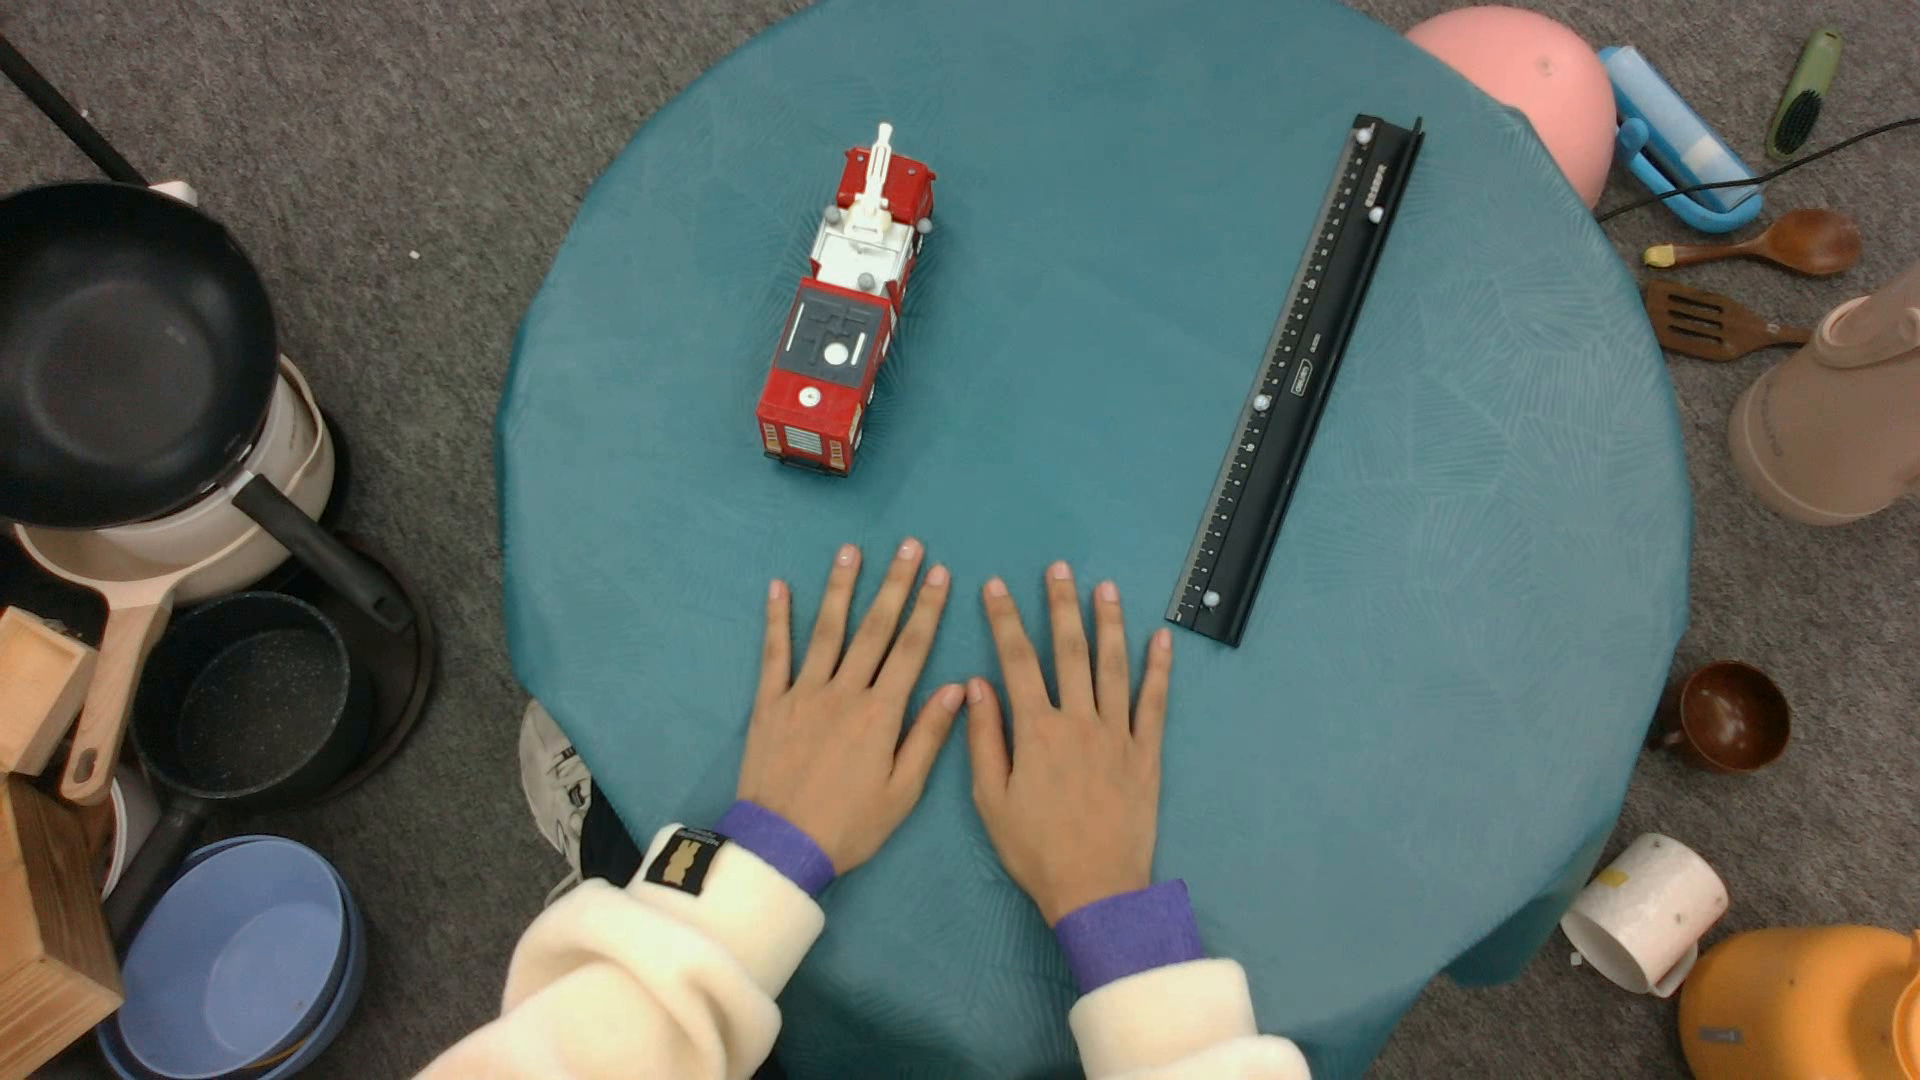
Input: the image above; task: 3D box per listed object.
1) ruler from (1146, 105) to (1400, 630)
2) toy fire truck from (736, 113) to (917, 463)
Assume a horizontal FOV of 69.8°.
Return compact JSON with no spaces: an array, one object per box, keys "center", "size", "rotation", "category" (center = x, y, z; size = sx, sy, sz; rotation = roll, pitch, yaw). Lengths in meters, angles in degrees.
[{"center":[0.167,-0.101,0.710],"size":[0.039,0.017,0.313],"rotation":[21,73,8],"category":"ruler"},{"center":[-0.066,-0.124,0.685],"size":[0.054,0.070,0.168],"rotation":[15,73,2],"category":"toy fire truck"}]
